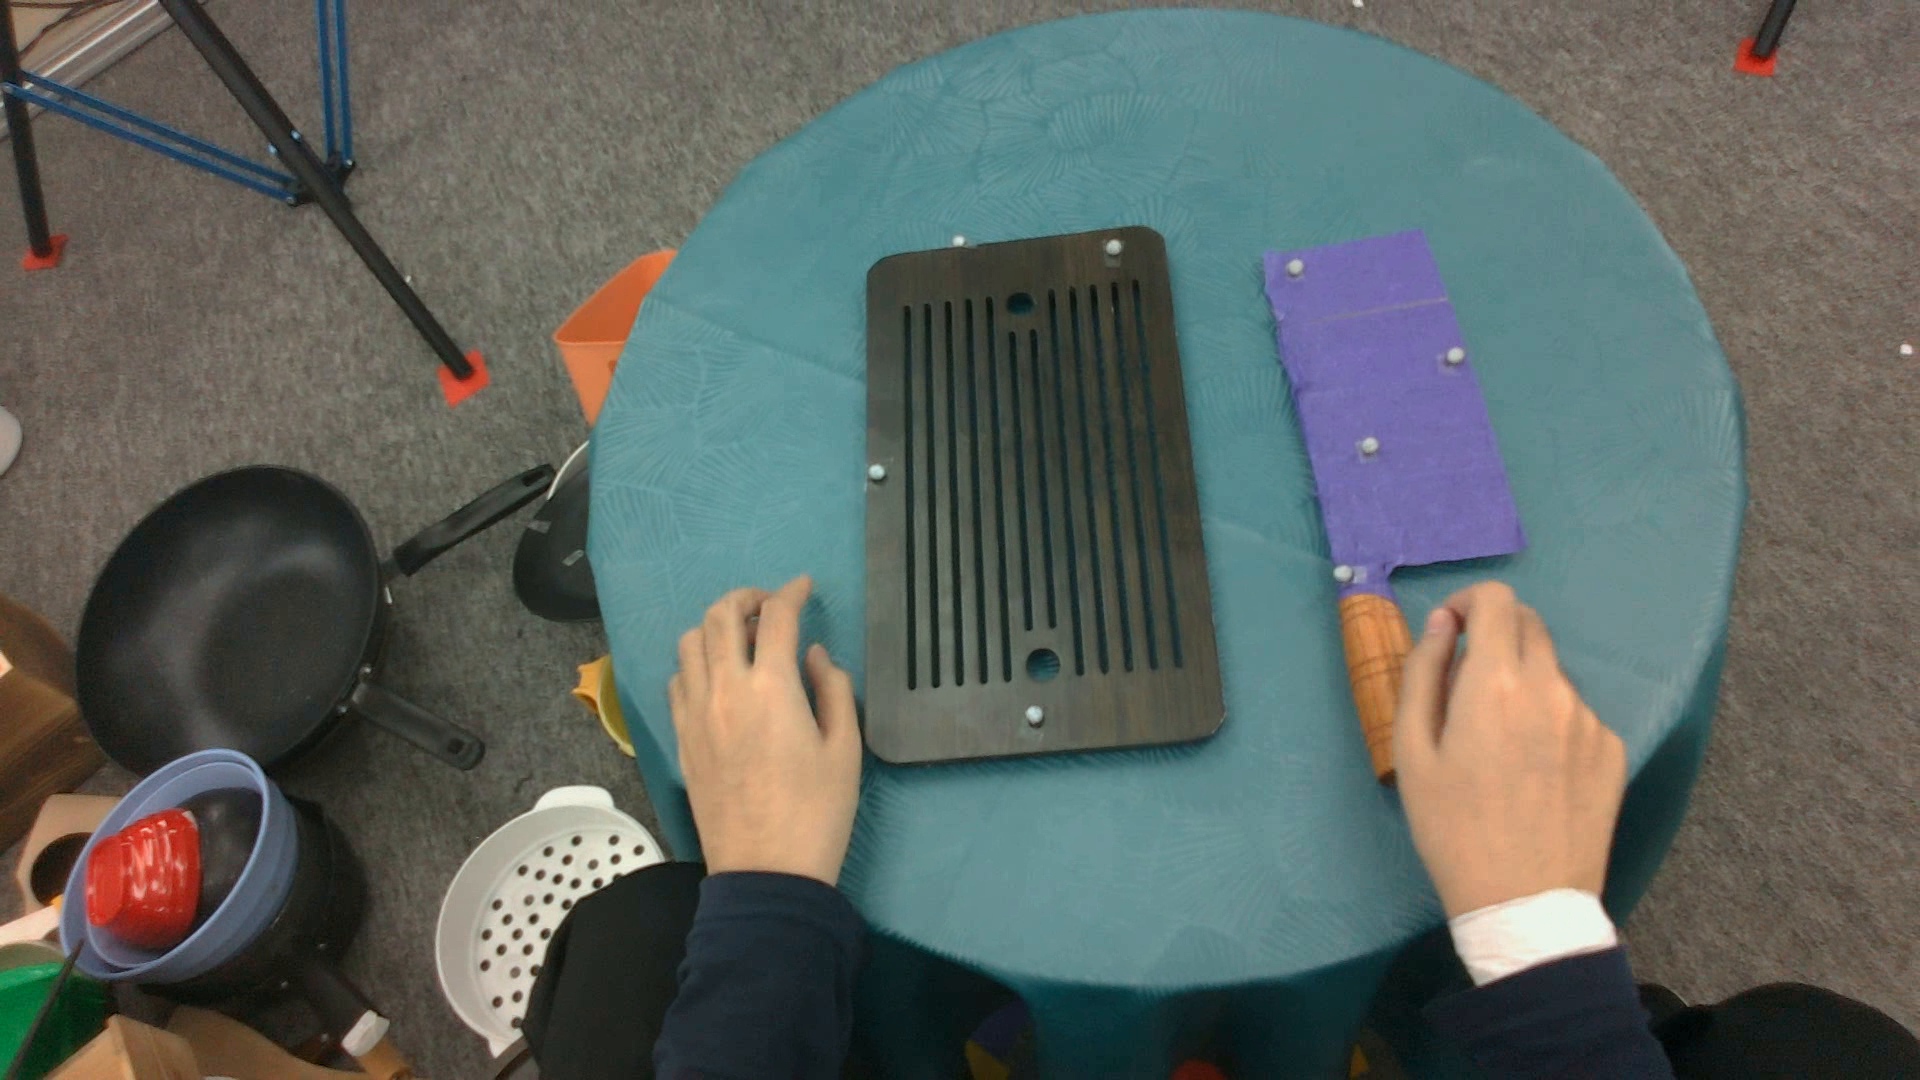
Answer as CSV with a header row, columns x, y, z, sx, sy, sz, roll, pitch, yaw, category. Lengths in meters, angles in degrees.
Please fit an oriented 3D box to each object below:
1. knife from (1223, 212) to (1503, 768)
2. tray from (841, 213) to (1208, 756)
x,y,z,sx,sy,sz,roll,pitch,yaw,category
0.212,-0.044,0.684,0.104,0.032,0.316,-9,61,4,knife
0.024,-0.040,0.713,0.170,0.018,0.307,-6,62,5,tray
